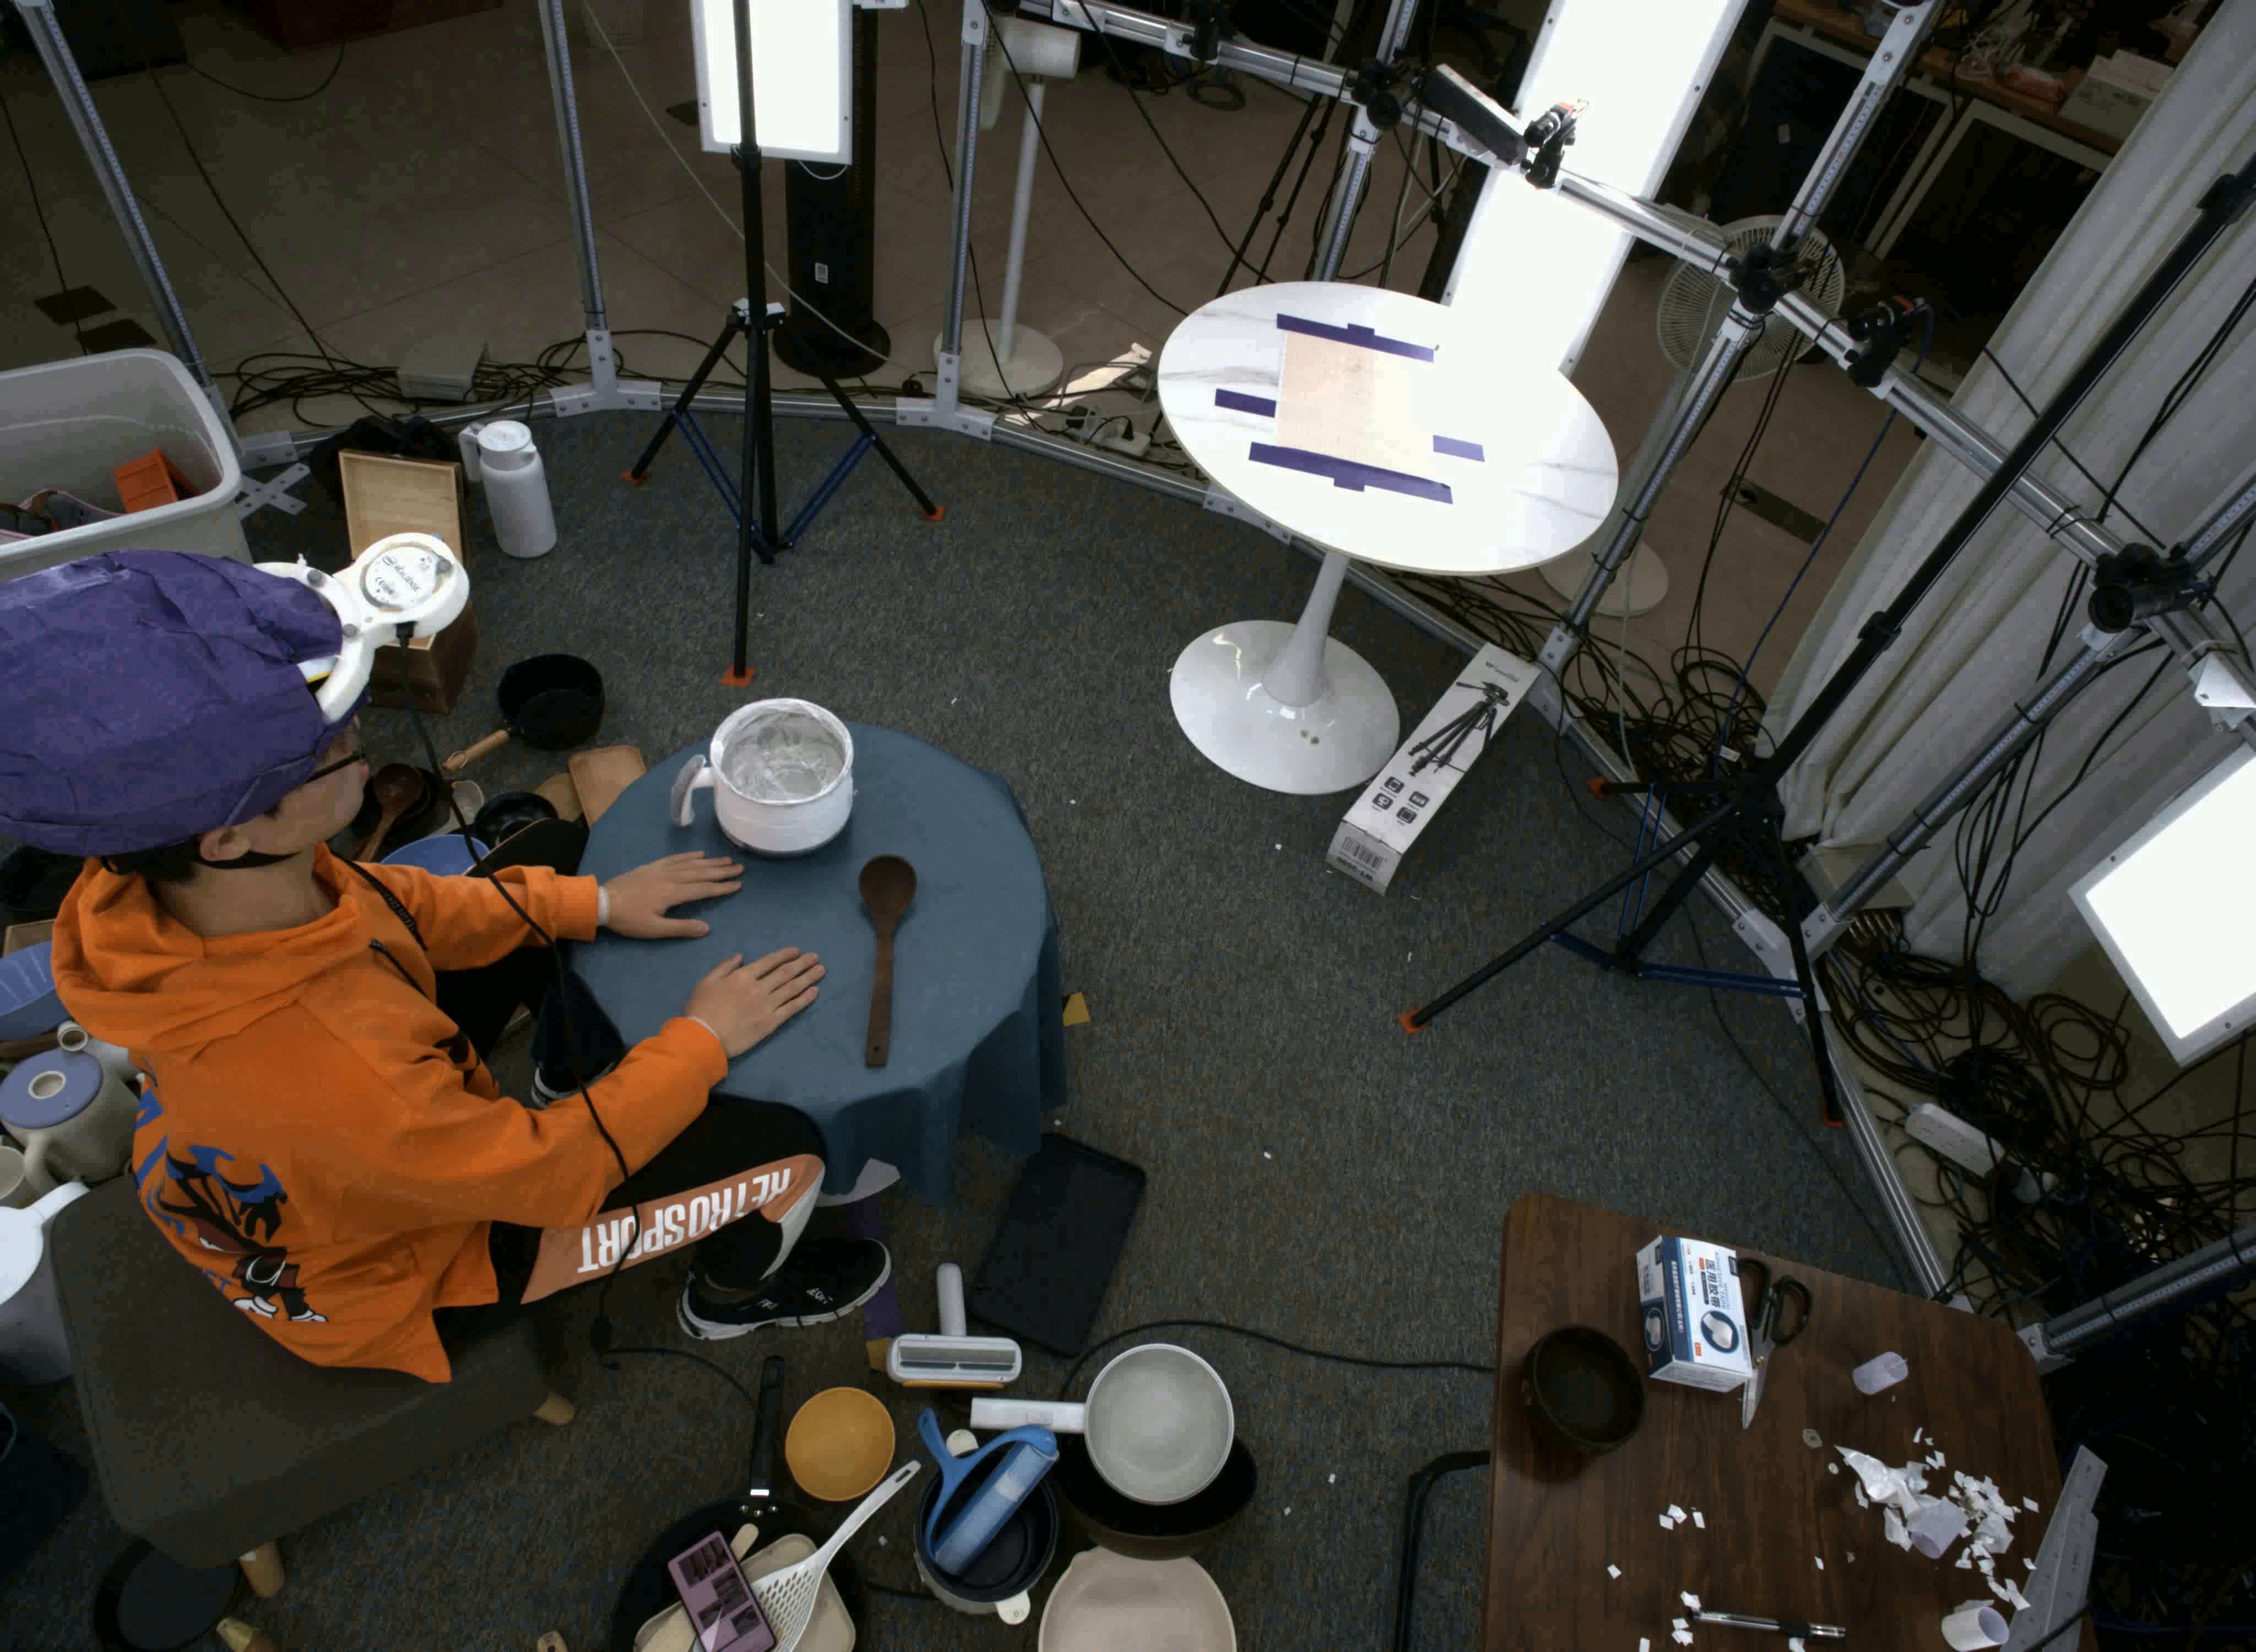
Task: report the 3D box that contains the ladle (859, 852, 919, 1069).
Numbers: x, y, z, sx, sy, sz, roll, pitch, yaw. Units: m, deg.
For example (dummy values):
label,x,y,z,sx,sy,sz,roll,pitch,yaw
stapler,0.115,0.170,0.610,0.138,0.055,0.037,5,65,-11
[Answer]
label,x,y,z,sx,sy,sz,roll,pitch,yaw
ladle,-0.298,0.155,1.586,0.076,0.073,0.268,1,53,-7

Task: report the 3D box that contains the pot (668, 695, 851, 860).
label,x,y,z,sx,sy,sz,roll,pitch,yaw
pot,-0.472,-0.054,1.654,0.235,0.139,0.174,-10,56,-21
